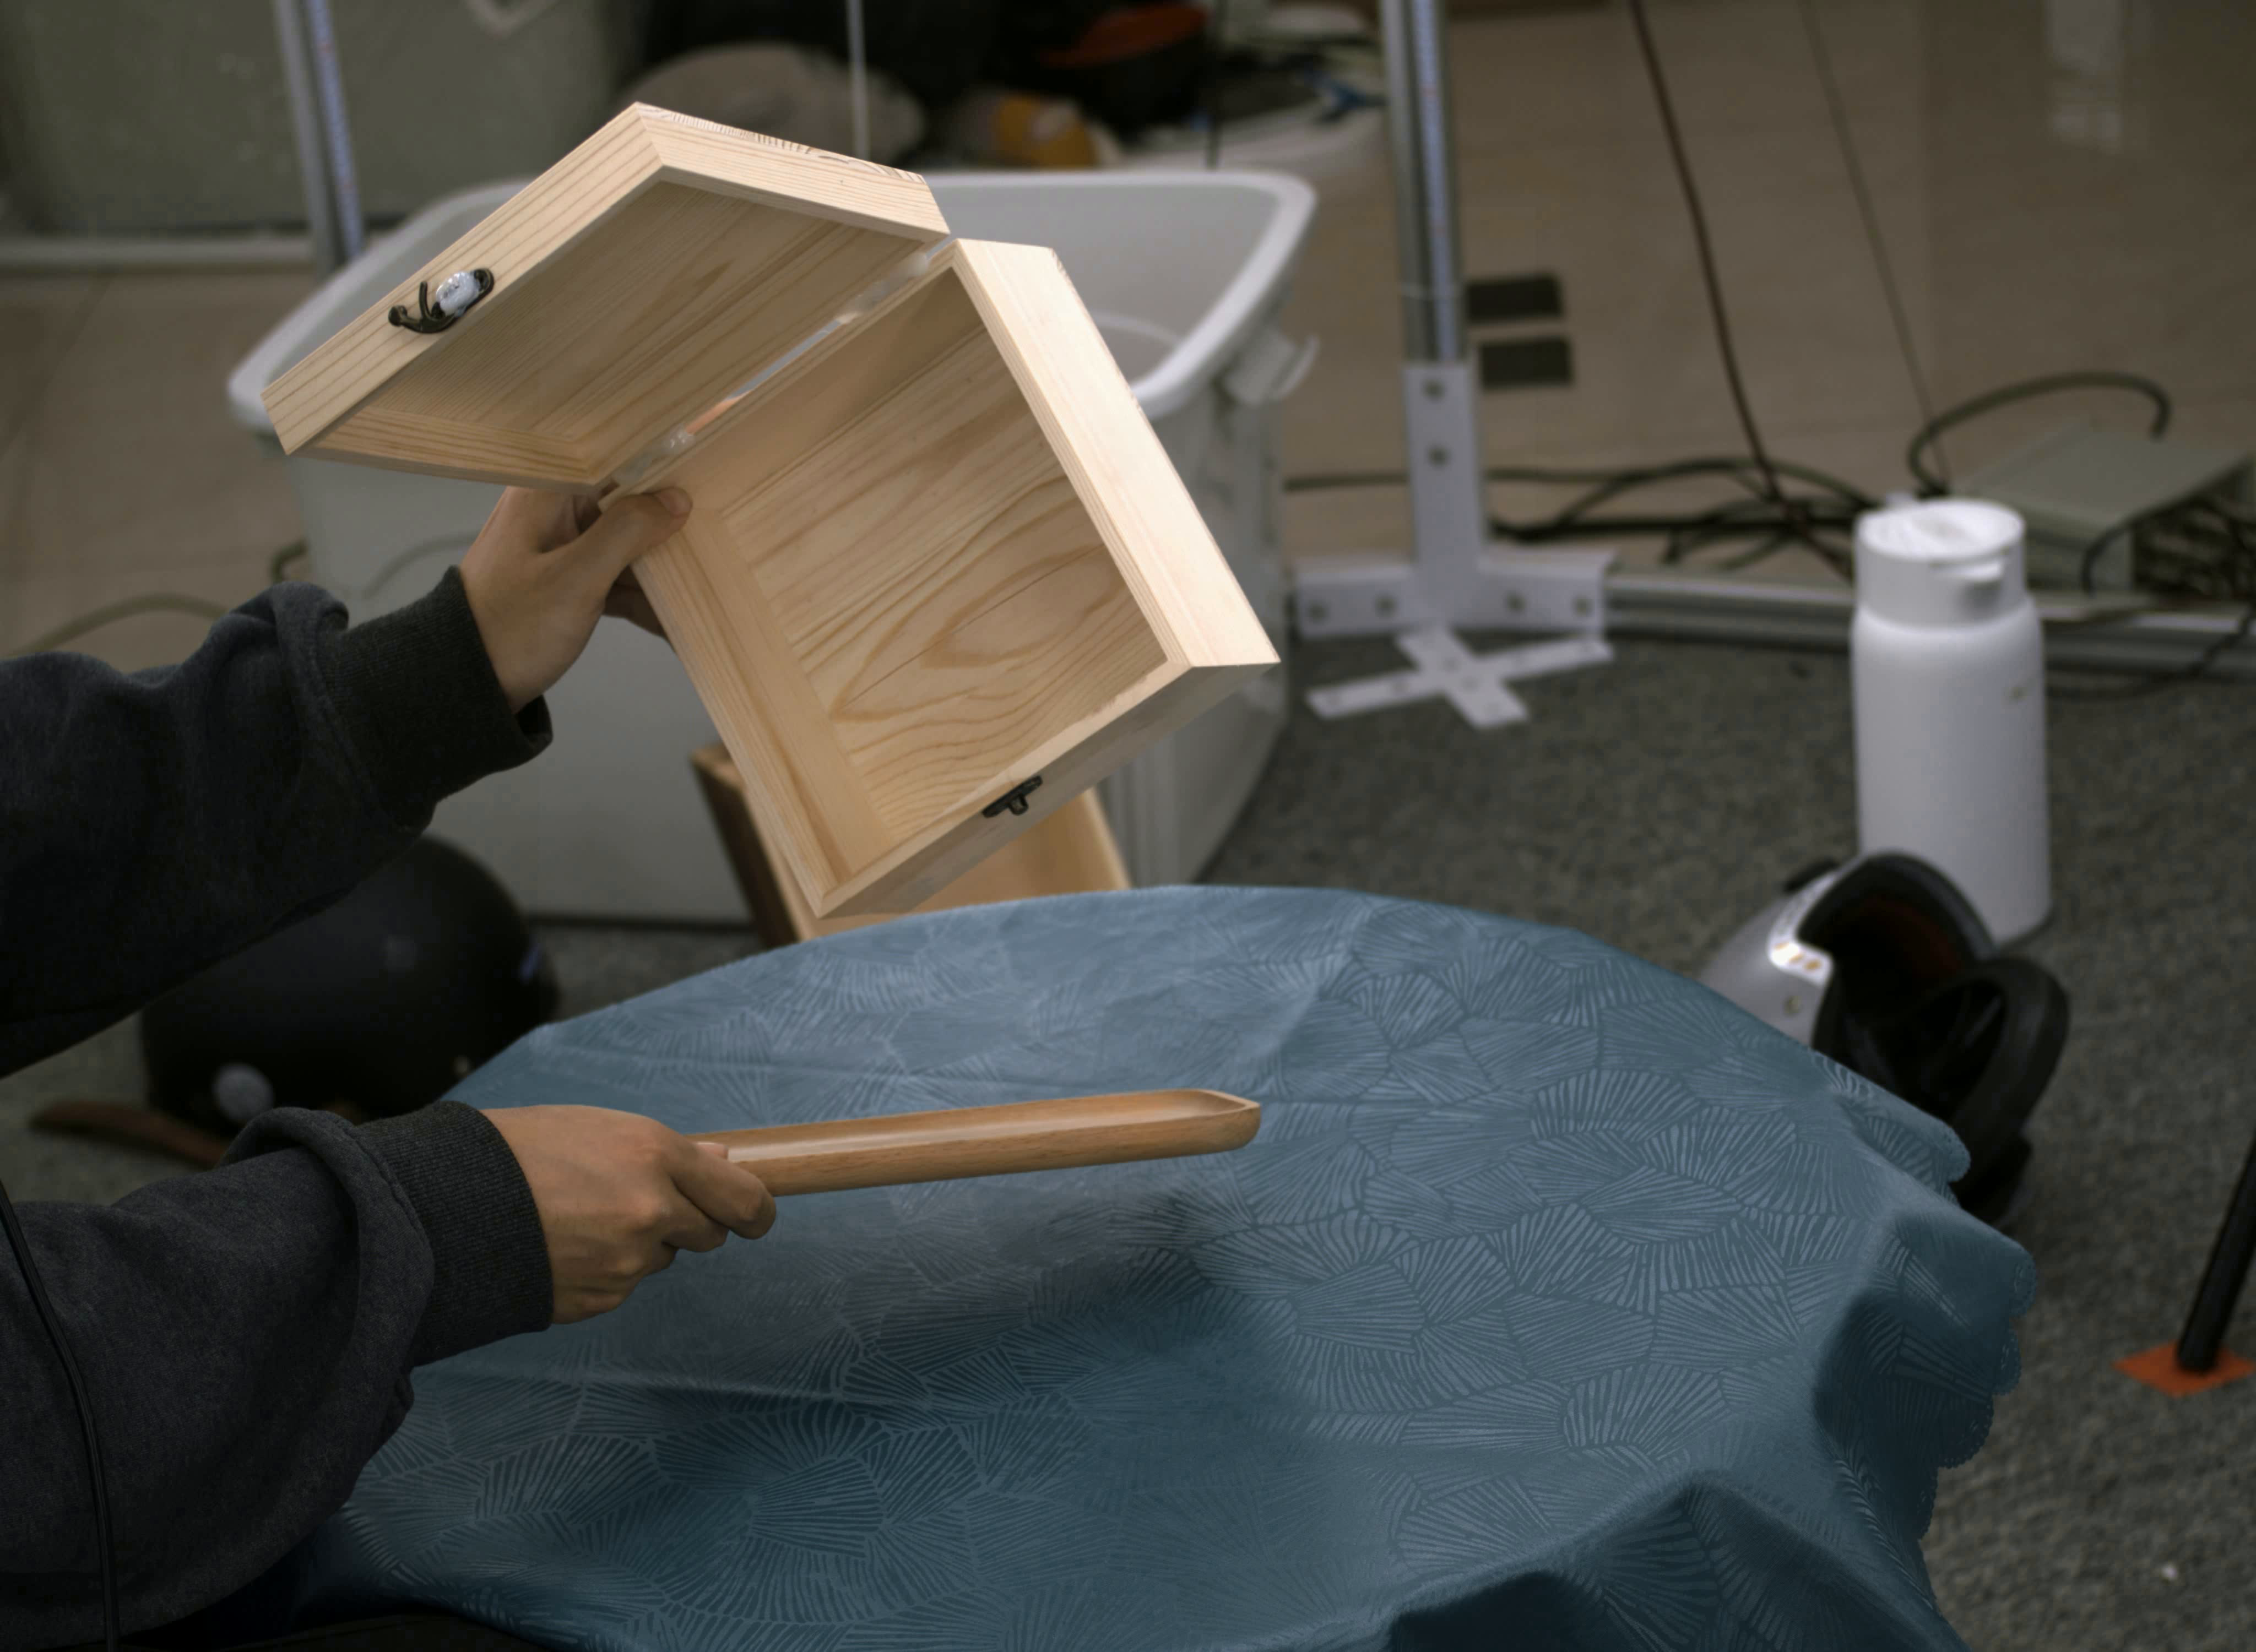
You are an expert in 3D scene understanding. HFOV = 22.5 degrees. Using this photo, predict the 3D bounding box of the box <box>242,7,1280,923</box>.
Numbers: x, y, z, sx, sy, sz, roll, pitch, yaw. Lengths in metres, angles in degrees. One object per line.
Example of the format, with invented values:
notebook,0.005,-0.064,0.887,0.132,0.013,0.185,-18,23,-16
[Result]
box,-0.125,-0.117,1.997,0.183,0.263,0.253,-34,-12,22

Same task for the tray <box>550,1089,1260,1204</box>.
tray,-0.082,0.116,2.063,0.250,0.023,0.130,-5,-1,-12
